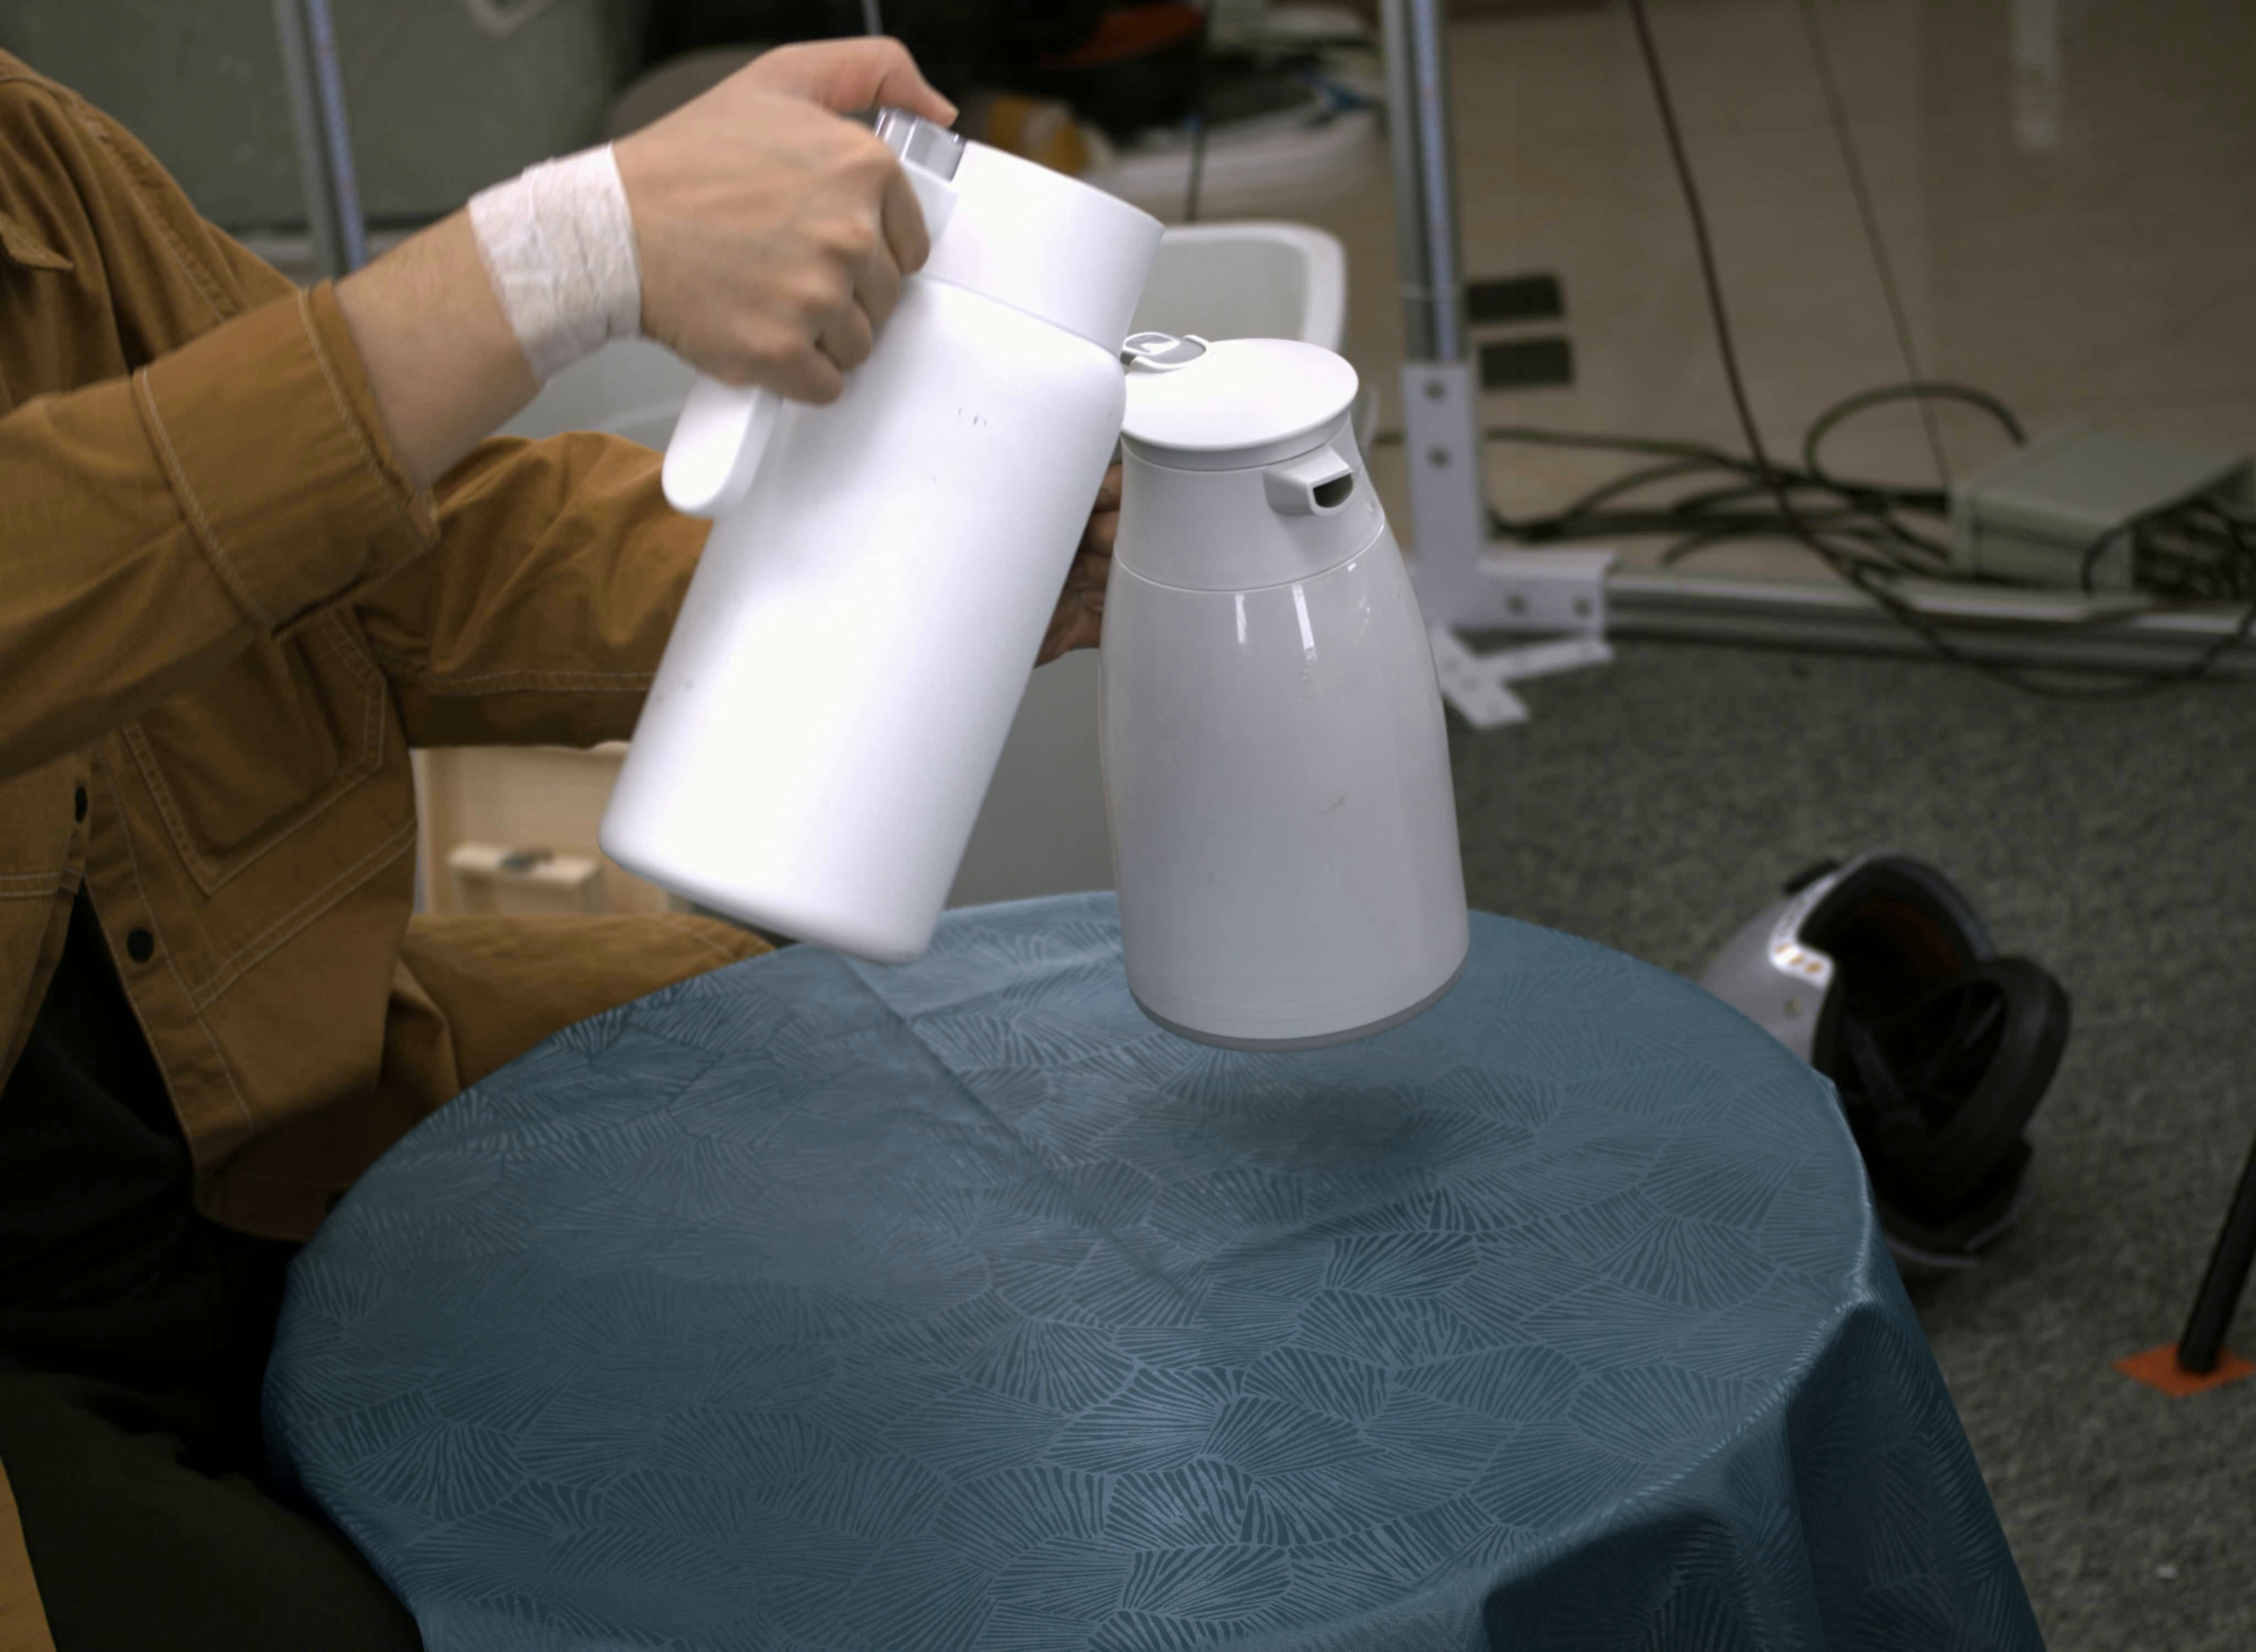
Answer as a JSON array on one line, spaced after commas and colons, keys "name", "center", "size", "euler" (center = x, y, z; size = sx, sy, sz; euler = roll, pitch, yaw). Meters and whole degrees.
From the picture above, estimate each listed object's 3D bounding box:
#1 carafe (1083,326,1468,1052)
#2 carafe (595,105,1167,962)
[{"name": "carafe", "center": [0.039, -0.062, 2.105], "size": [0.131, 0.253, 0.166], "euler": [-24, 33, -26]}, {"name": "carafe", "center": [-0.088, -0.099, 1.877], "size": [0.123, 0.269, 0.174], "euler": [24, 2, 36]}]
